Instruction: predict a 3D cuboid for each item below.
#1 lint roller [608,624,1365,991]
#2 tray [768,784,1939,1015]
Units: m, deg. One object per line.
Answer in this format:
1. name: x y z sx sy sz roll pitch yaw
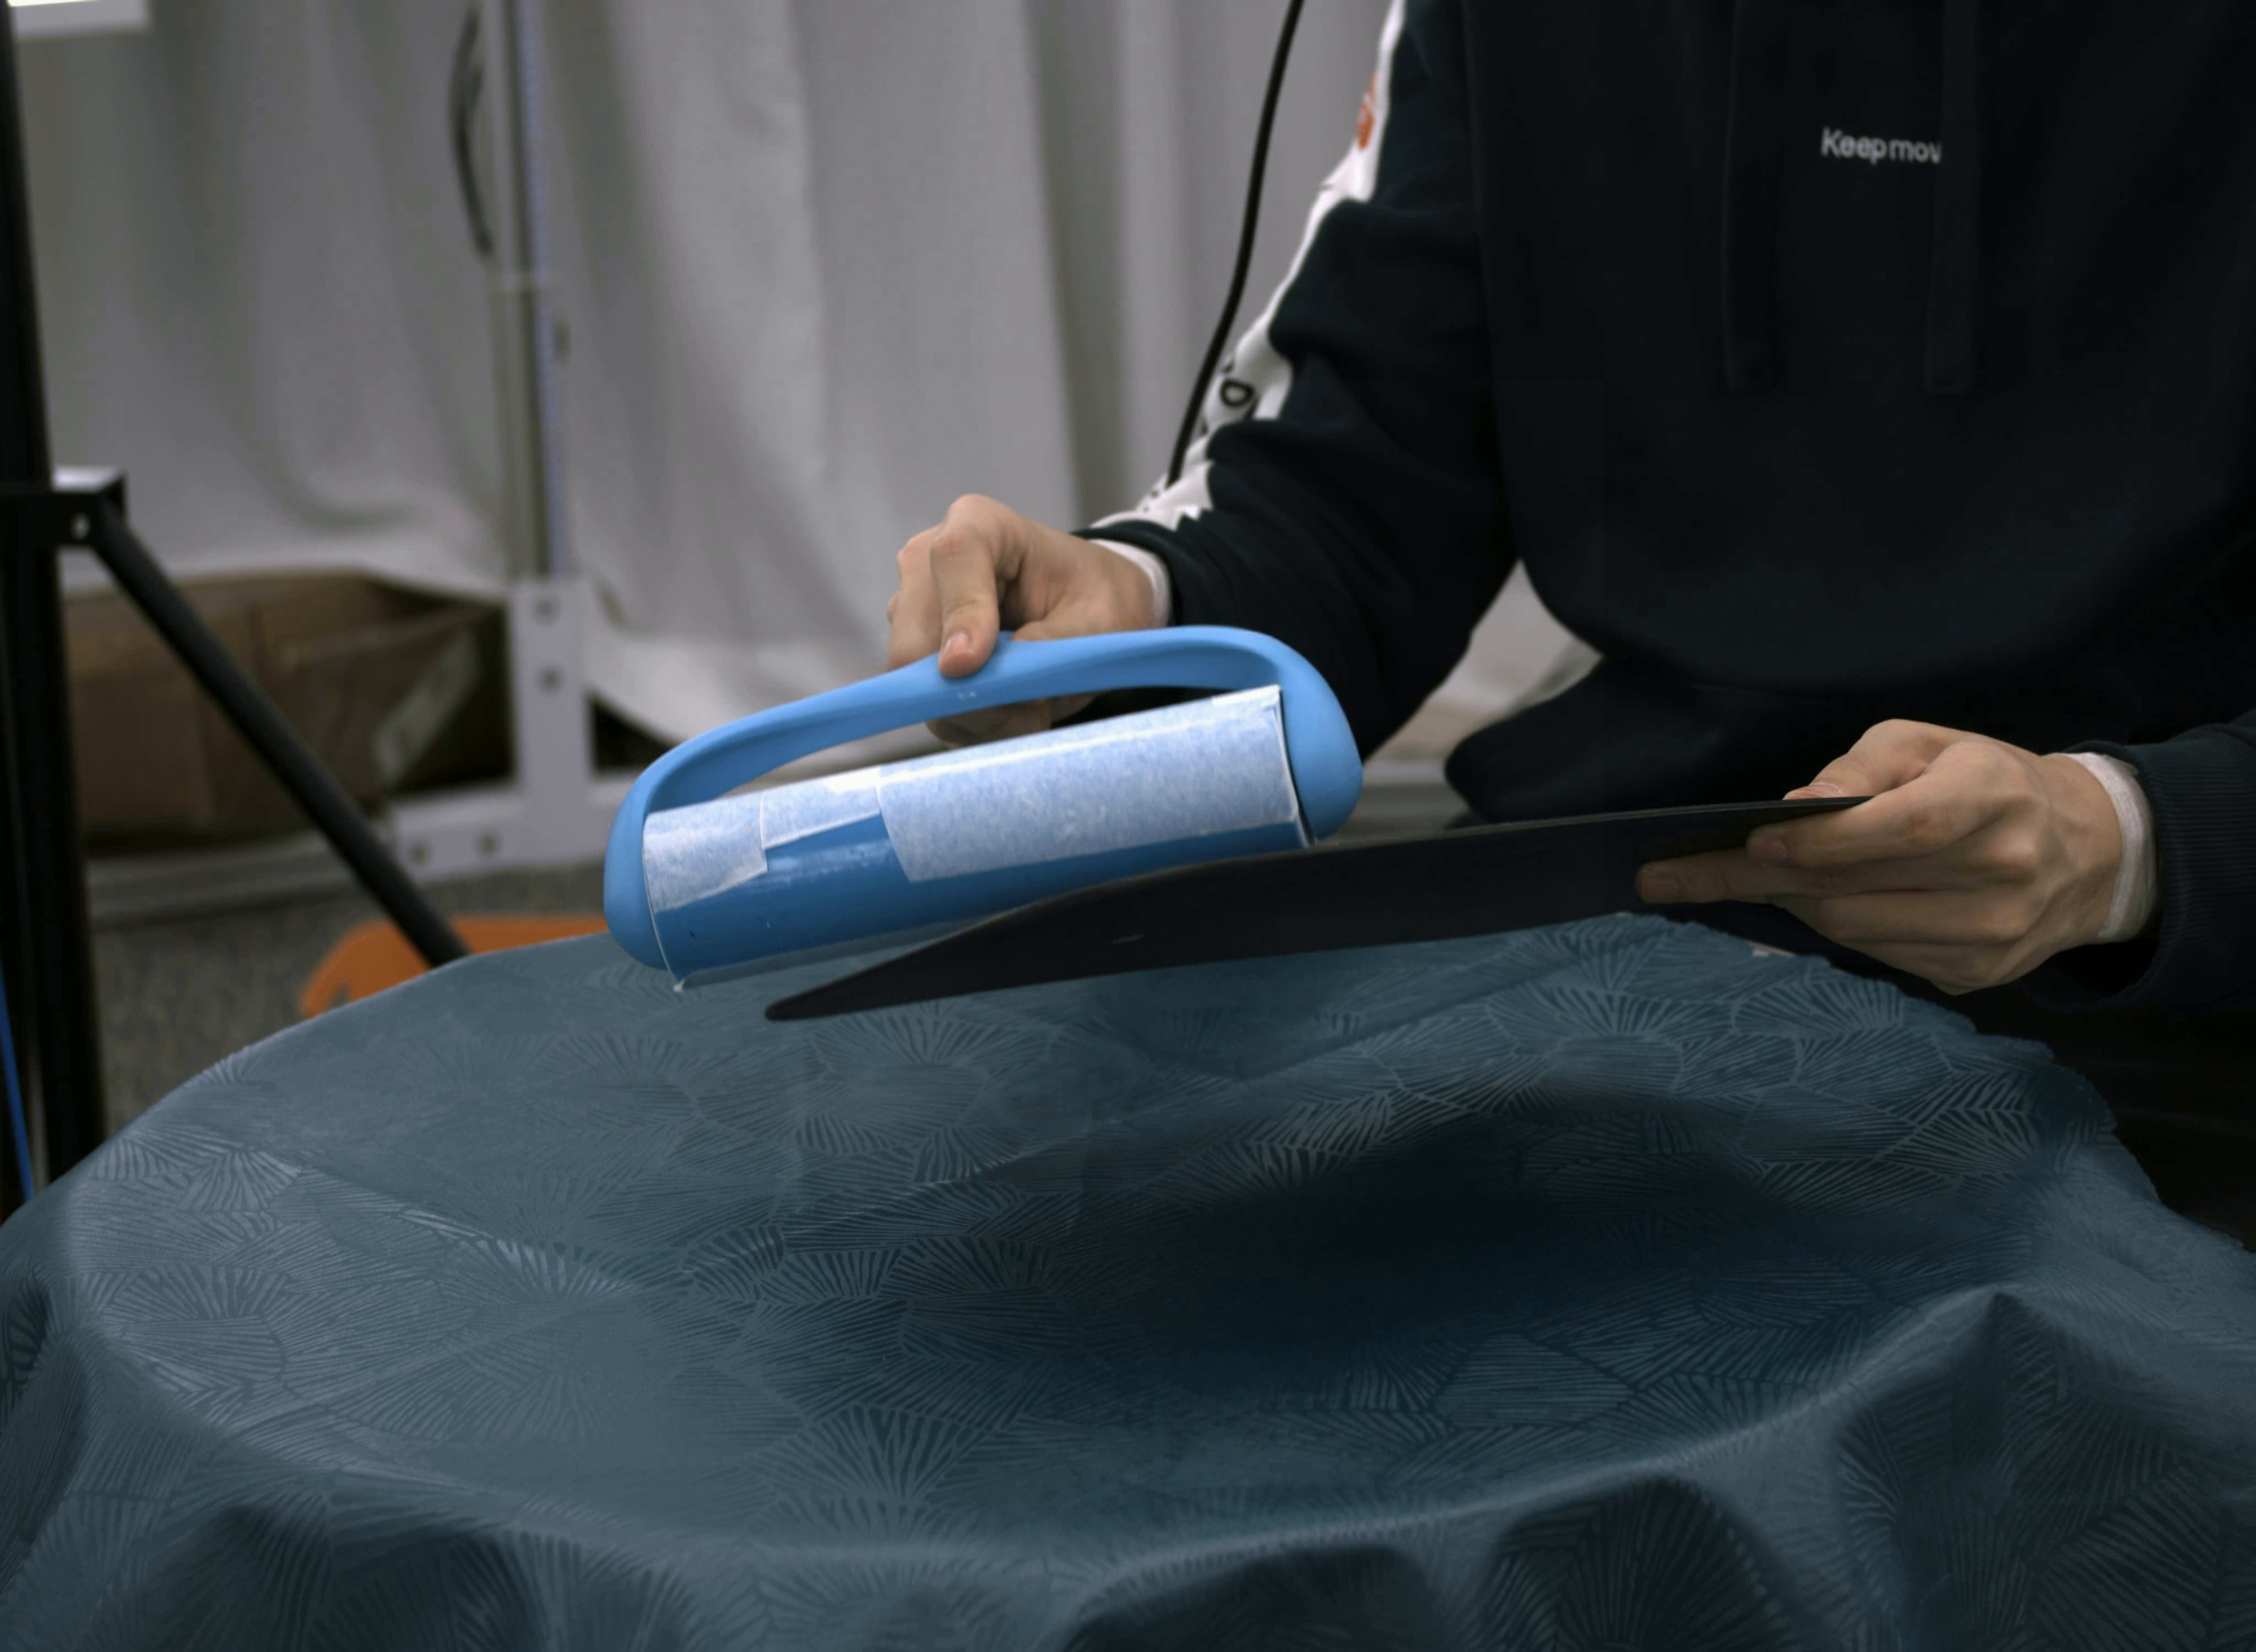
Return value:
1. lint roller: -0.044 -0.024 1.615 0.229 0.067 0.181 -14 25 7
2. tray: 0.070 0.021 1.495 0.317 0.010 0.214 -6 -9 -32
